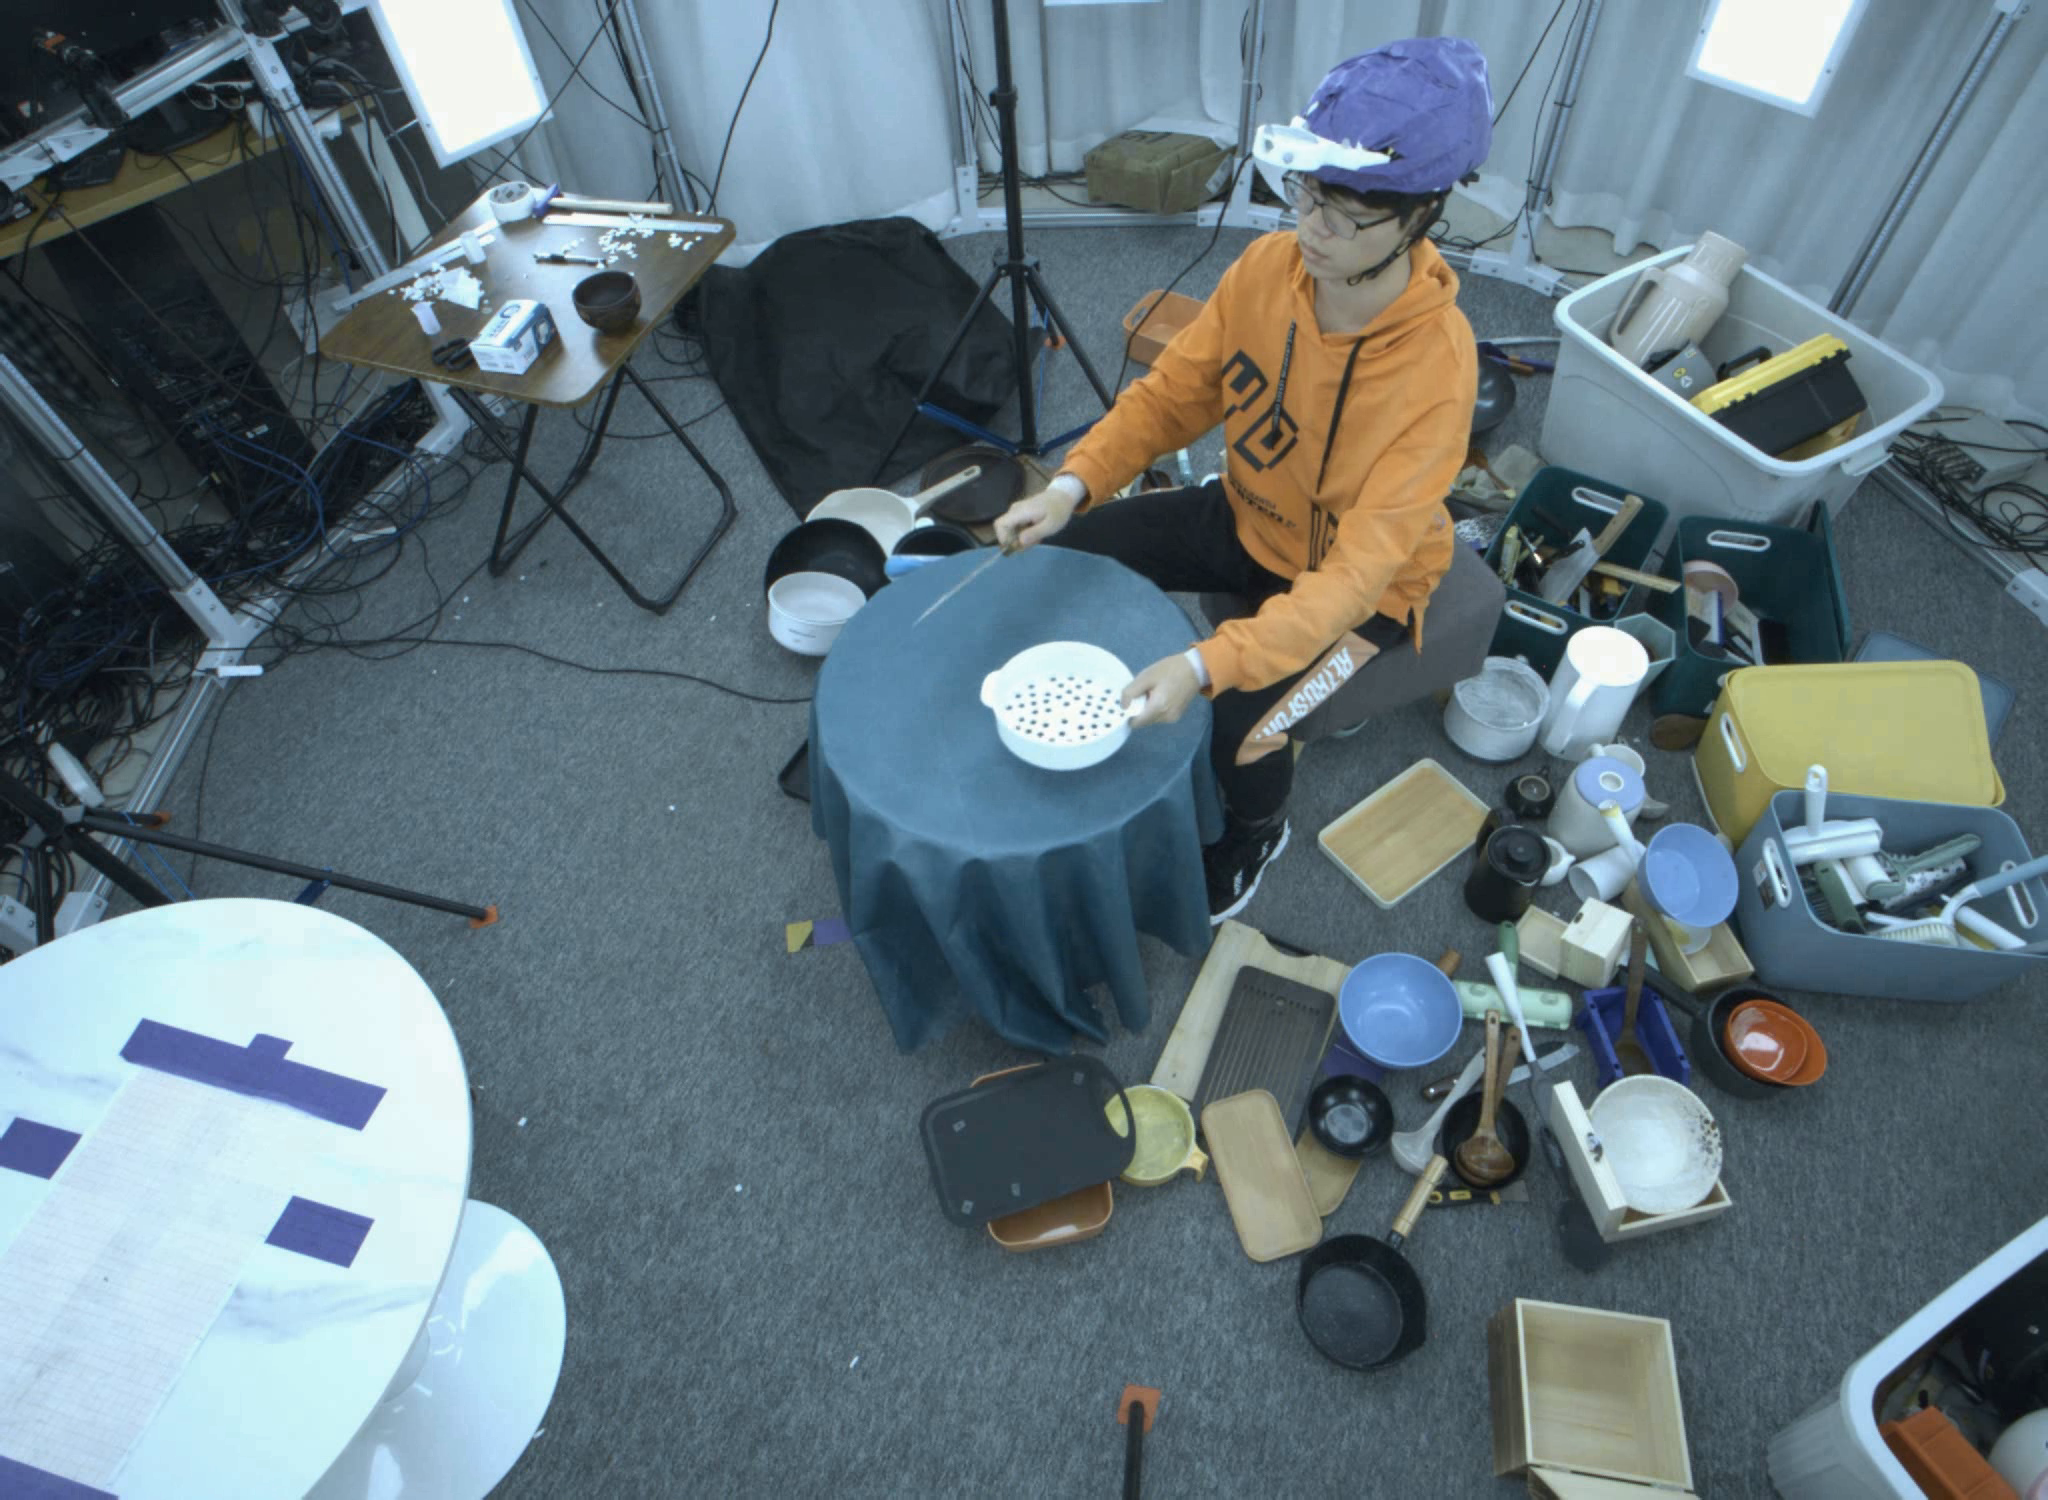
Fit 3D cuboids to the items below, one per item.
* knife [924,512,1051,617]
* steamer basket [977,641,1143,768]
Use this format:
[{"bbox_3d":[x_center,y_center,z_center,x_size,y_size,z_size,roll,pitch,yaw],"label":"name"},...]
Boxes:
[{"bbox_3d":[-0.055,-0.272,1.806,0.021,0.092,0.308,47,43,-3],"label":"knife"},{"bbox_3d":[0.052,-0.062,1.725,0.229,0.070,0.200,3,48,7],"label":"steamer basket"}]
